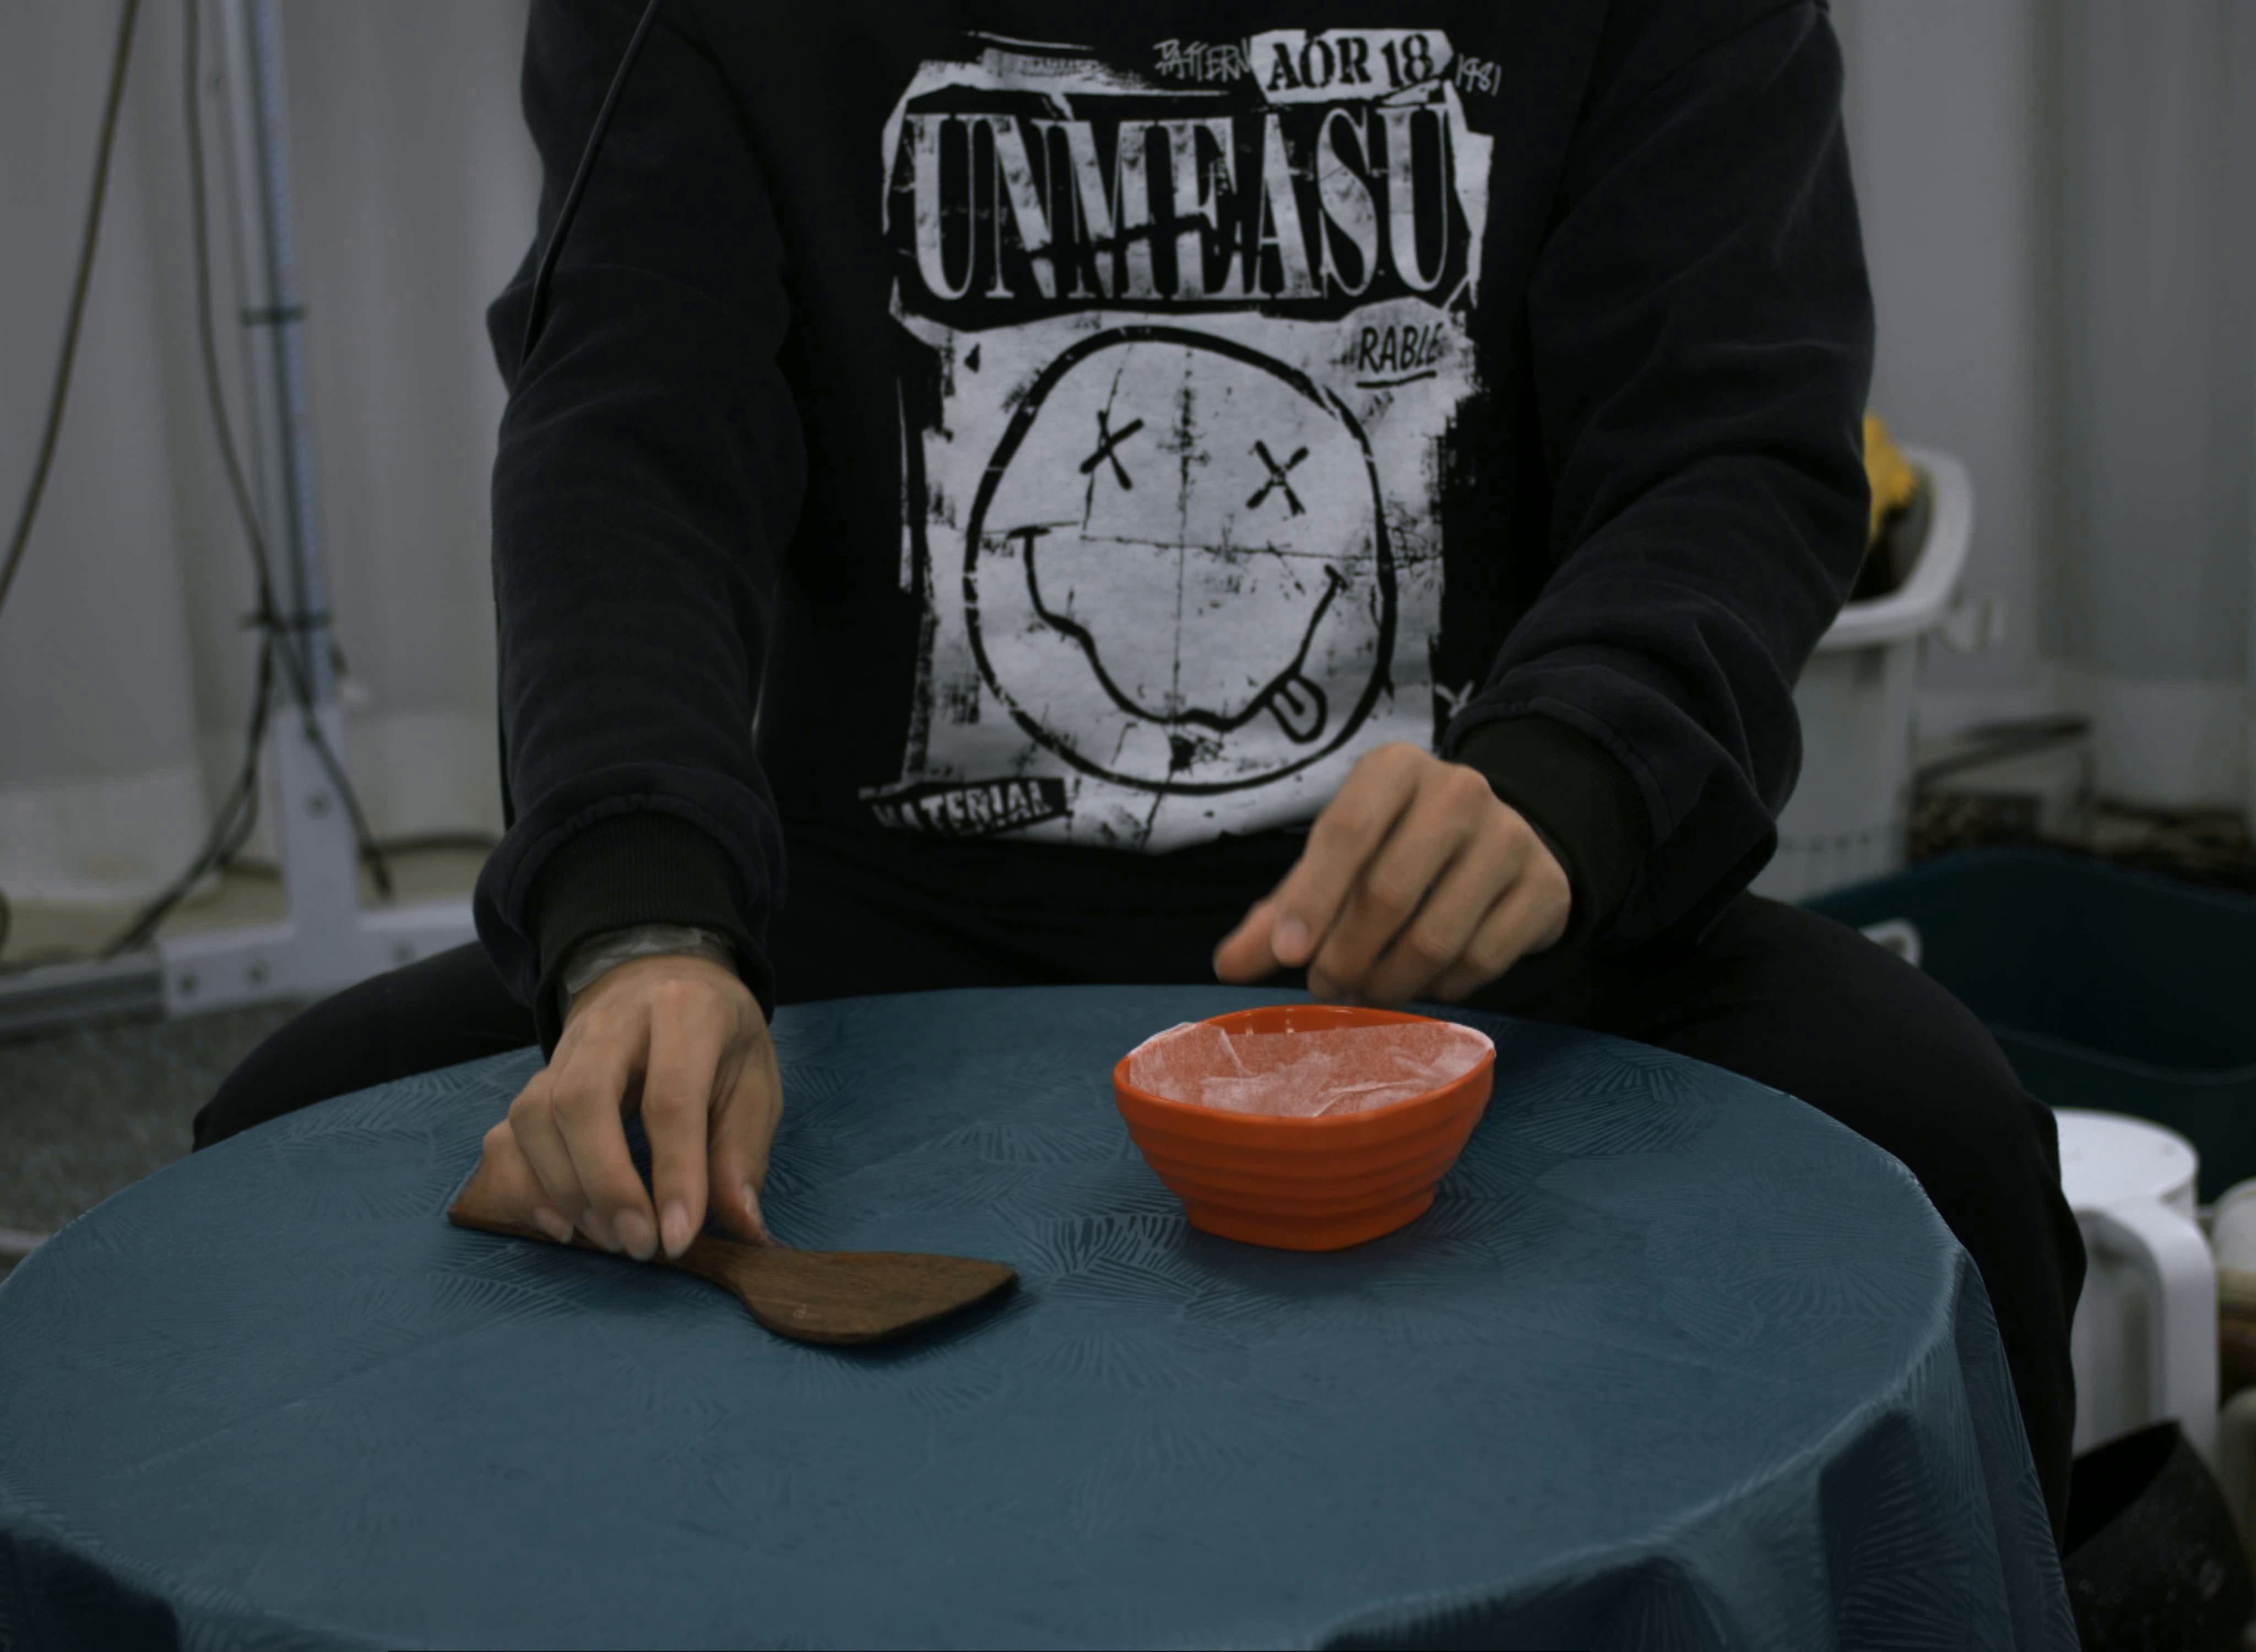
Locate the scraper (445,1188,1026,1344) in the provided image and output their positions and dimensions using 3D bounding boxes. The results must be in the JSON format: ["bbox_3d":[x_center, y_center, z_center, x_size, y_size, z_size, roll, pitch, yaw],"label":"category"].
[{"bbox_3d":[-0.128,0.131,1.663,0.212,0.011,0.076,9,17,39],"label":"scraper"}]

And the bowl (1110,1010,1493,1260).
[{"bbox_3d":[0.055,0.097,1.680,0.118,0.051,0.120,-4,15,1],"label":"bowl"}]
